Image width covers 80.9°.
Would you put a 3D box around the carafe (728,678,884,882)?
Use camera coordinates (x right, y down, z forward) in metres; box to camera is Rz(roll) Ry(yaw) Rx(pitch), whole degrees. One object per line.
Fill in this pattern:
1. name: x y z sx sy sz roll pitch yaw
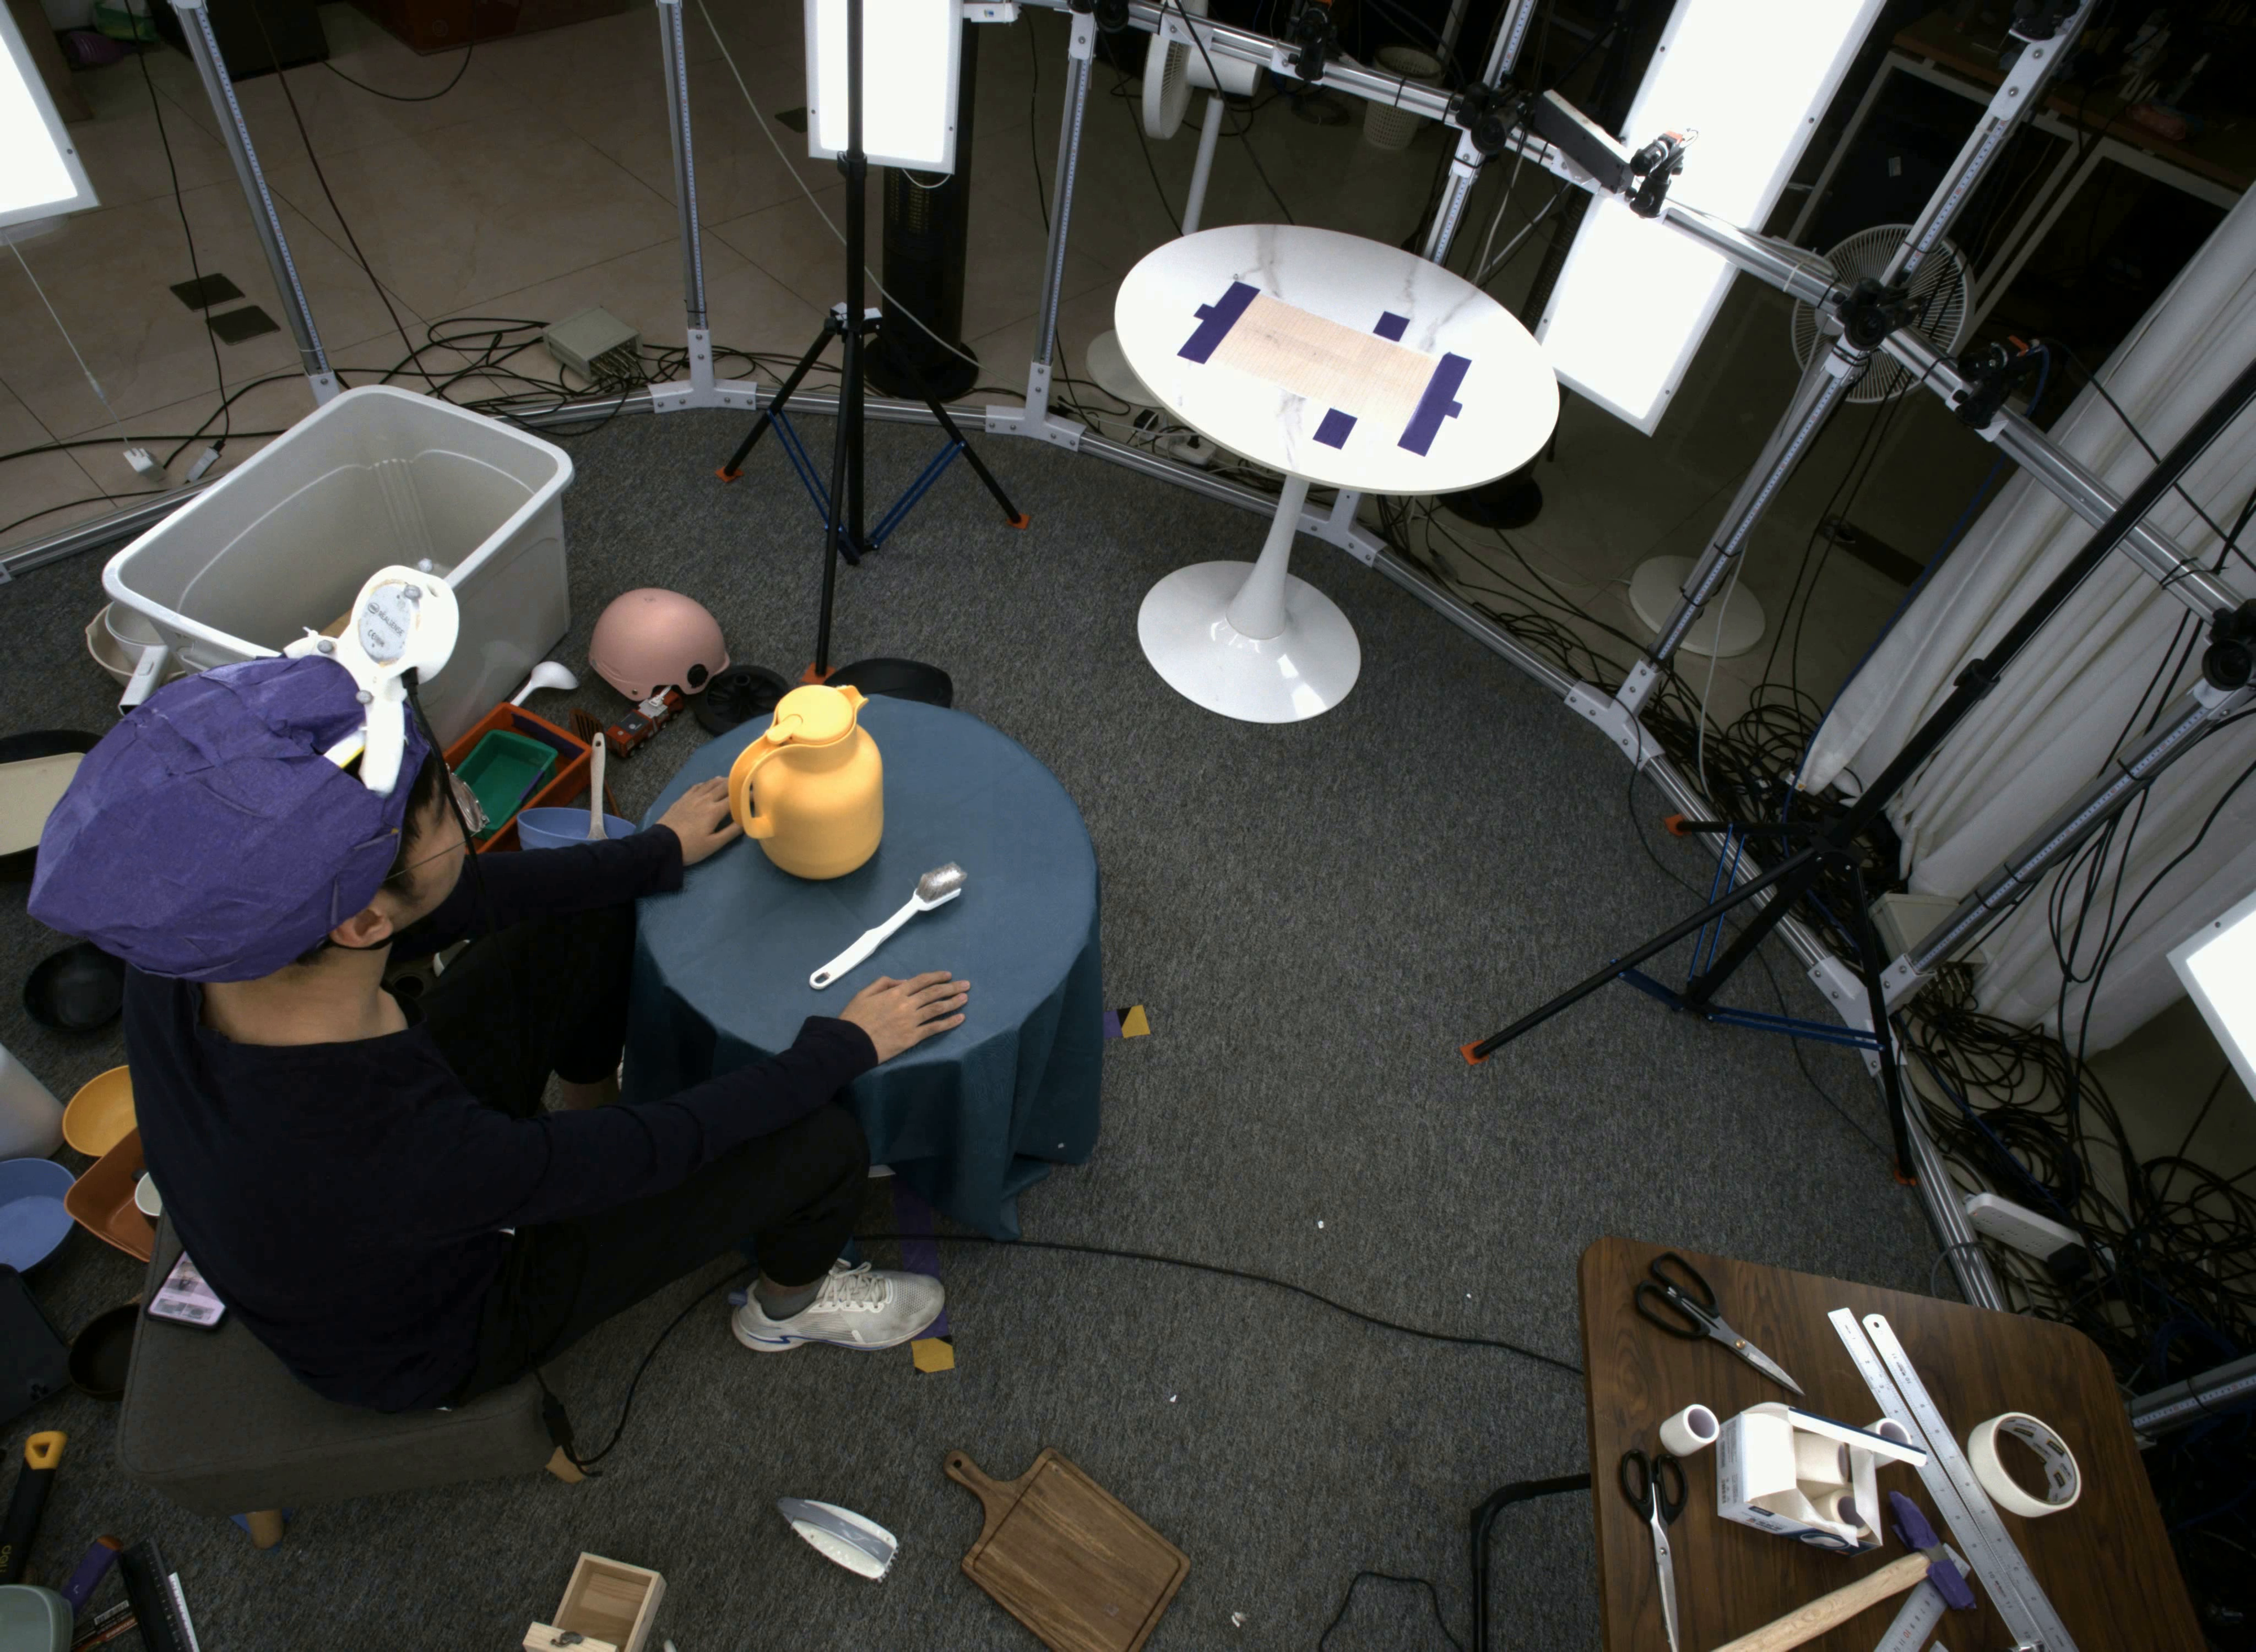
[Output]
1. carafe: -0.401 -0.054 1.603 0.159 0.267 0.203 40 54 22

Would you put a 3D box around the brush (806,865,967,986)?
1. brush: -0.303 0.120 1.636 0.244 0.051 0.034 -34 69 -32
